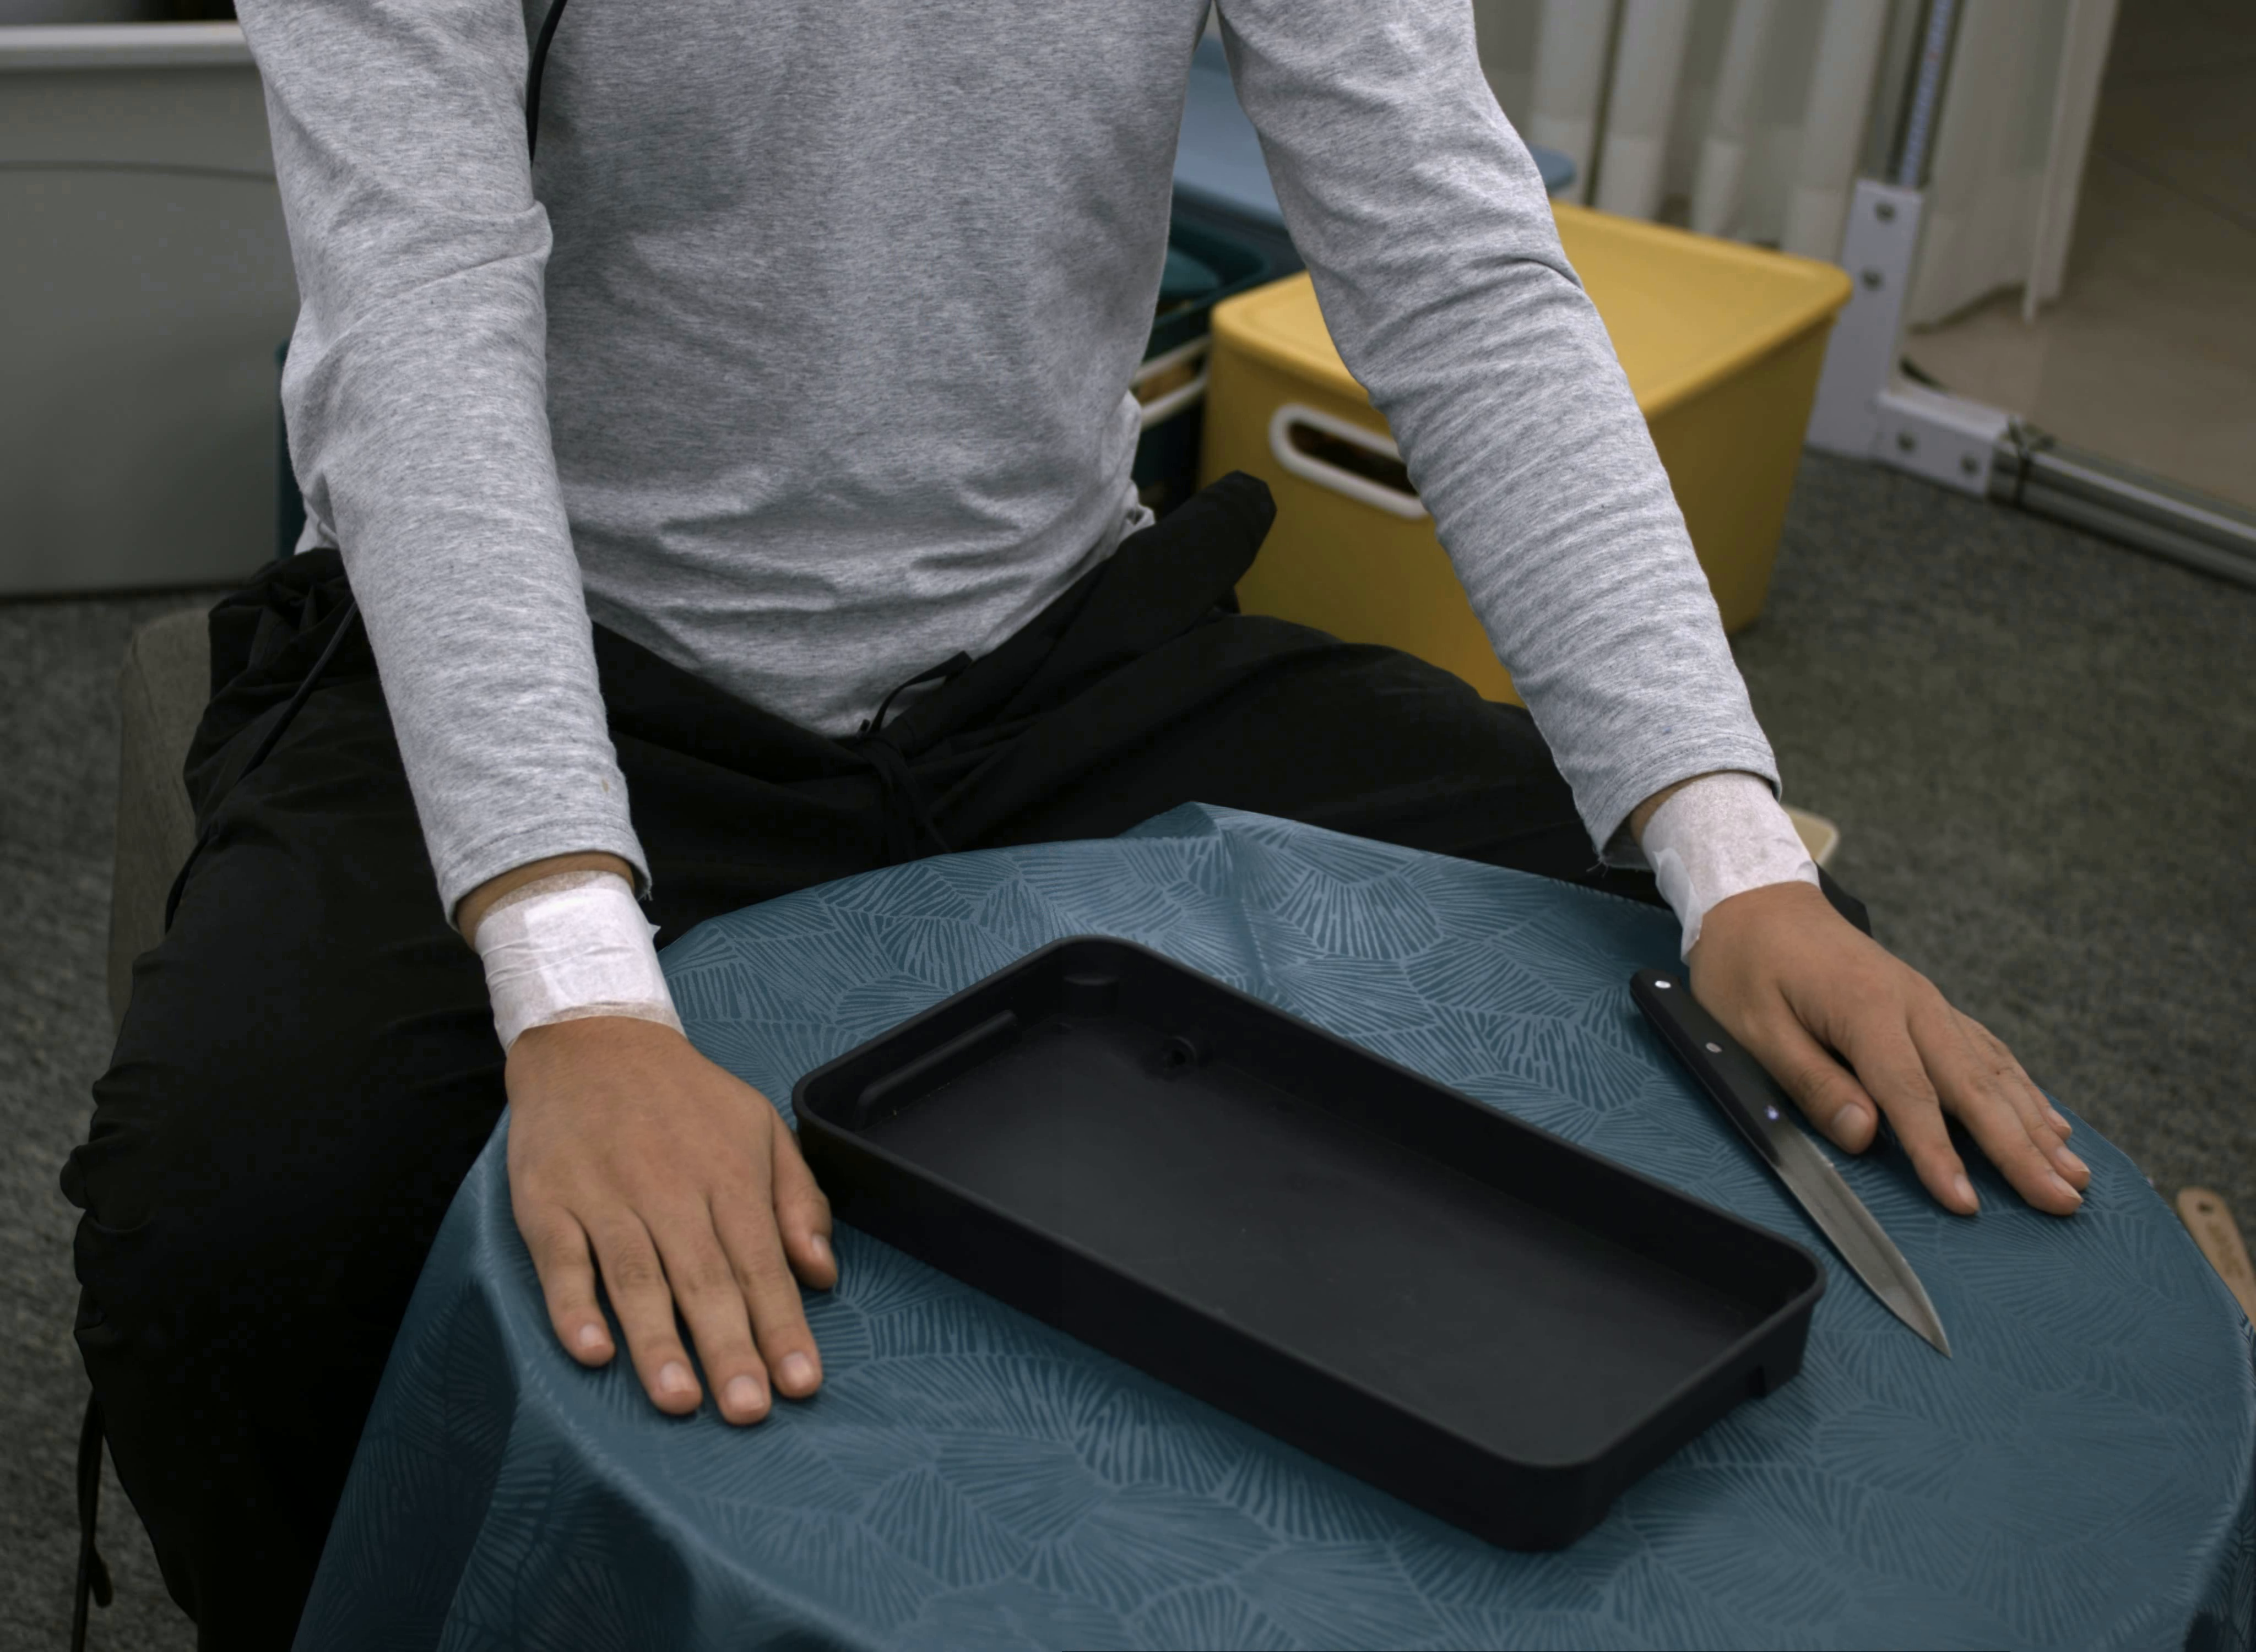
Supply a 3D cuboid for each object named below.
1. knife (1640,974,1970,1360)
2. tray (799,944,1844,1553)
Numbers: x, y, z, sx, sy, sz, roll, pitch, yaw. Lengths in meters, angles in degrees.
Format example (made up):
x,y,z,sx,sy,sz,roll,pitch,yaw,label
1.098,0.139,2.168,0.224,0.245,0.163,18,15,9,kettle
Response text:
x,y,z,sx,sy,sz,roll,pitch,yaw,label
0.234,0.118,1.857,0.024,0.016,0.240,-6,32,-21,knife
0.061,0.134,1.760,0.320,0.037,0.183,22,30,29,tray
